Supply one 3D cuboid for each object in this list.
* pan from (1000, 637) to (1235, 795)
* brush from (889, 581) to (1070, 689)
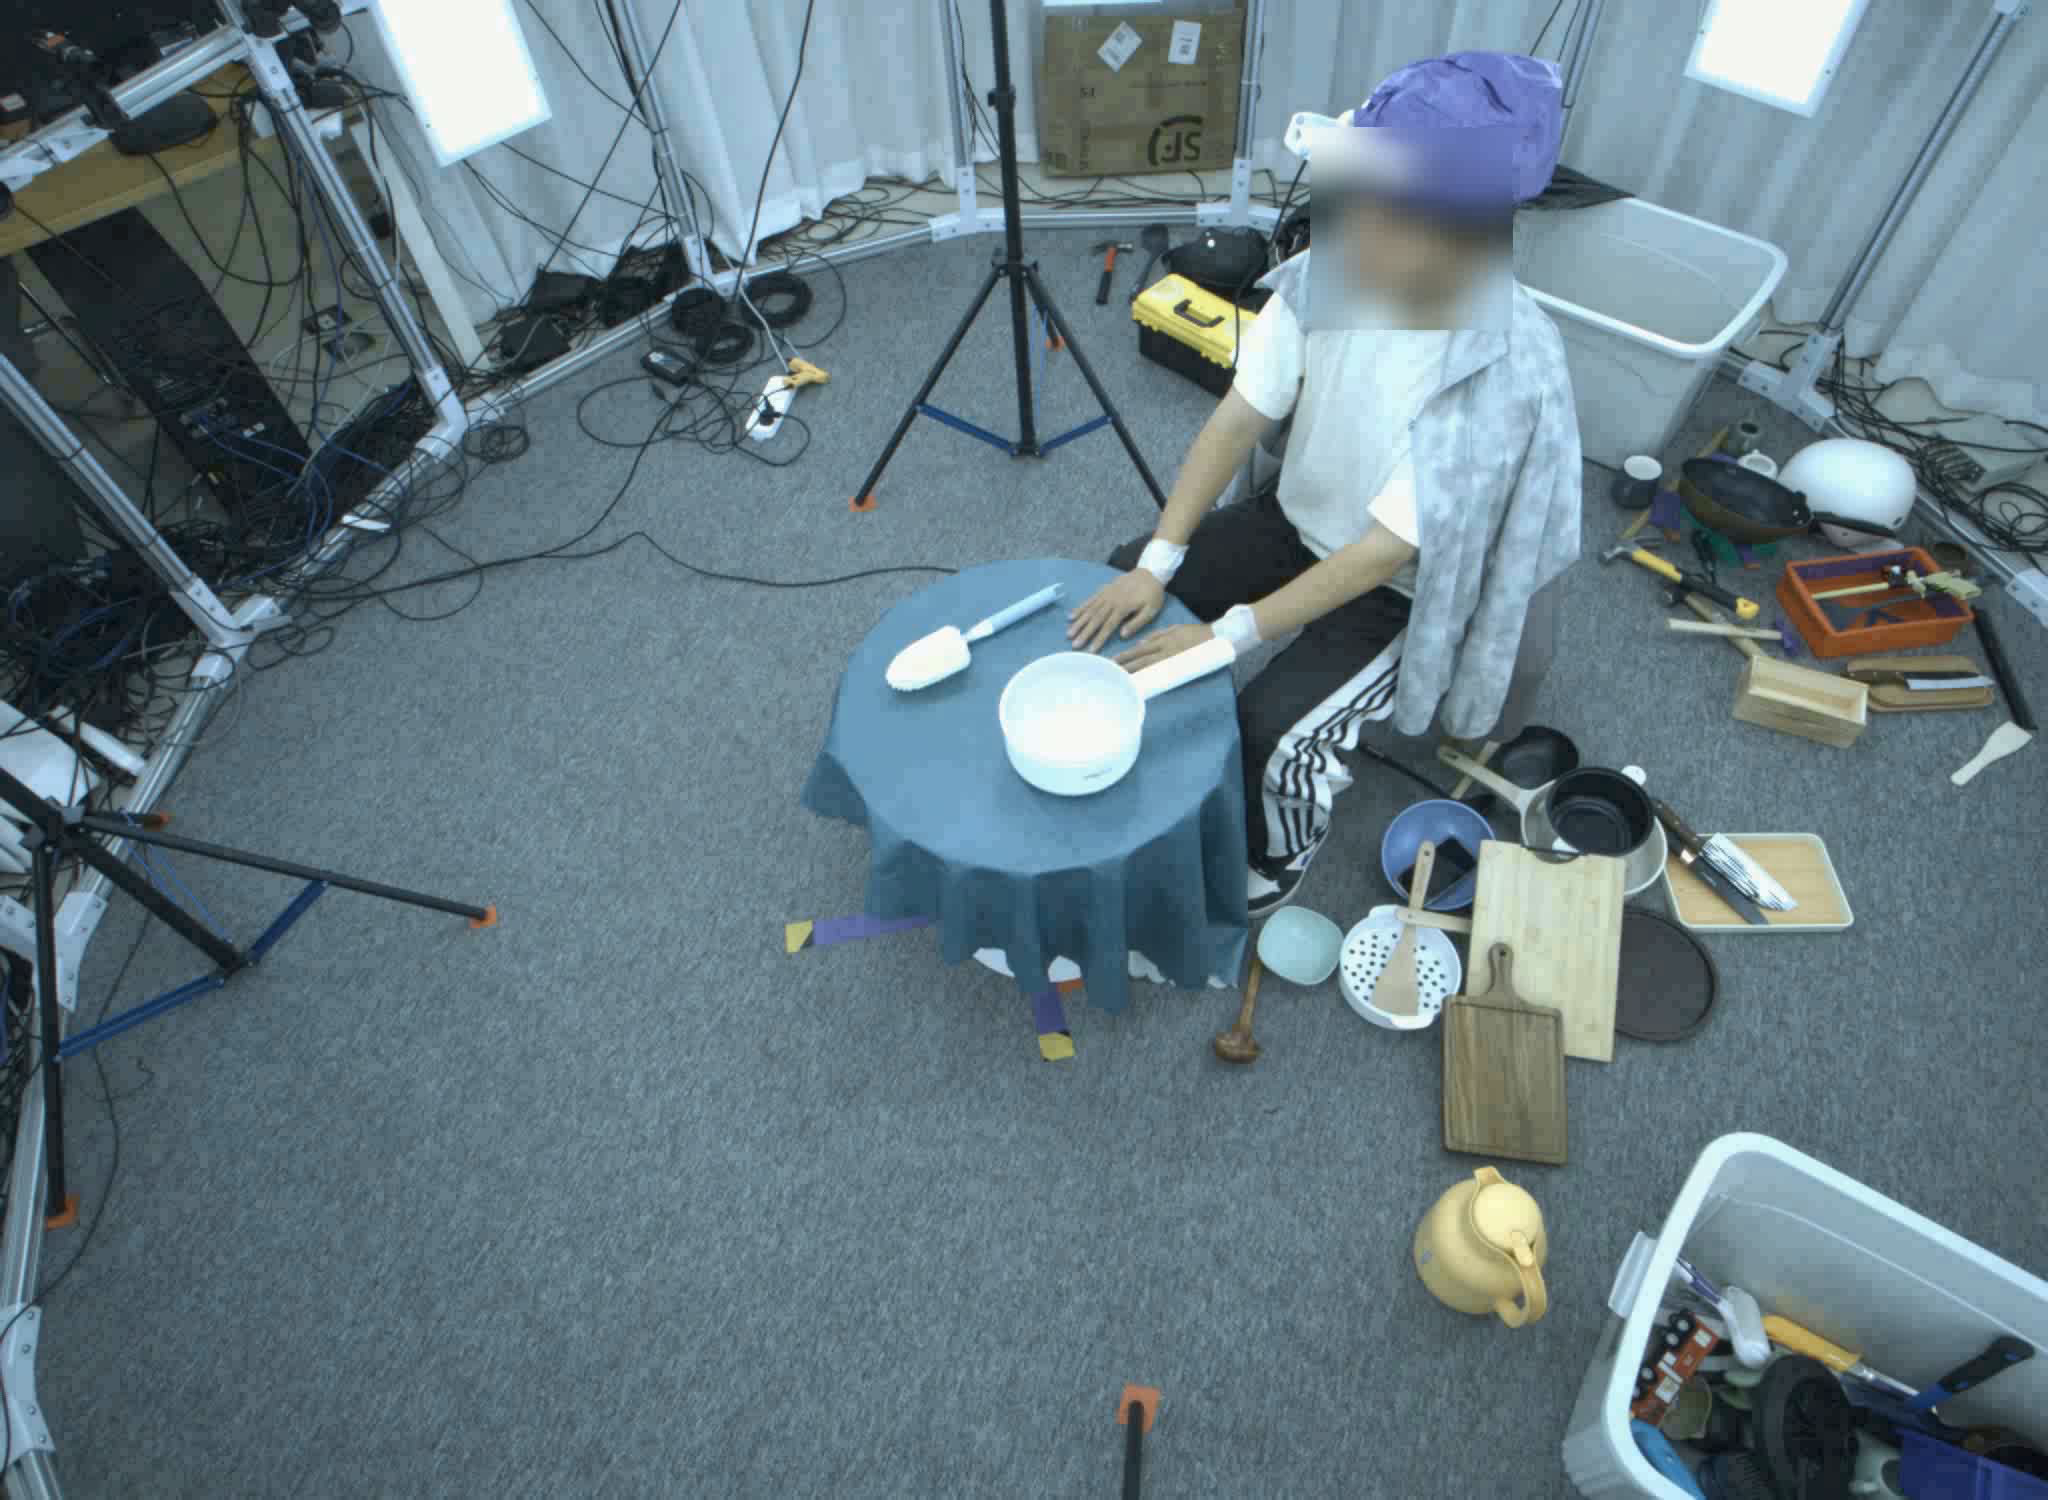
[{"bbox_3d":[0.137,-0.061,1.768,0.357,0.103,0.197,-23,56,-15],"label":"pan"},{"bbox_3d":[-0.060,-0.185,1.871,0.328,0.084,0.083,-29,52,-16],"label":"brush"}]
